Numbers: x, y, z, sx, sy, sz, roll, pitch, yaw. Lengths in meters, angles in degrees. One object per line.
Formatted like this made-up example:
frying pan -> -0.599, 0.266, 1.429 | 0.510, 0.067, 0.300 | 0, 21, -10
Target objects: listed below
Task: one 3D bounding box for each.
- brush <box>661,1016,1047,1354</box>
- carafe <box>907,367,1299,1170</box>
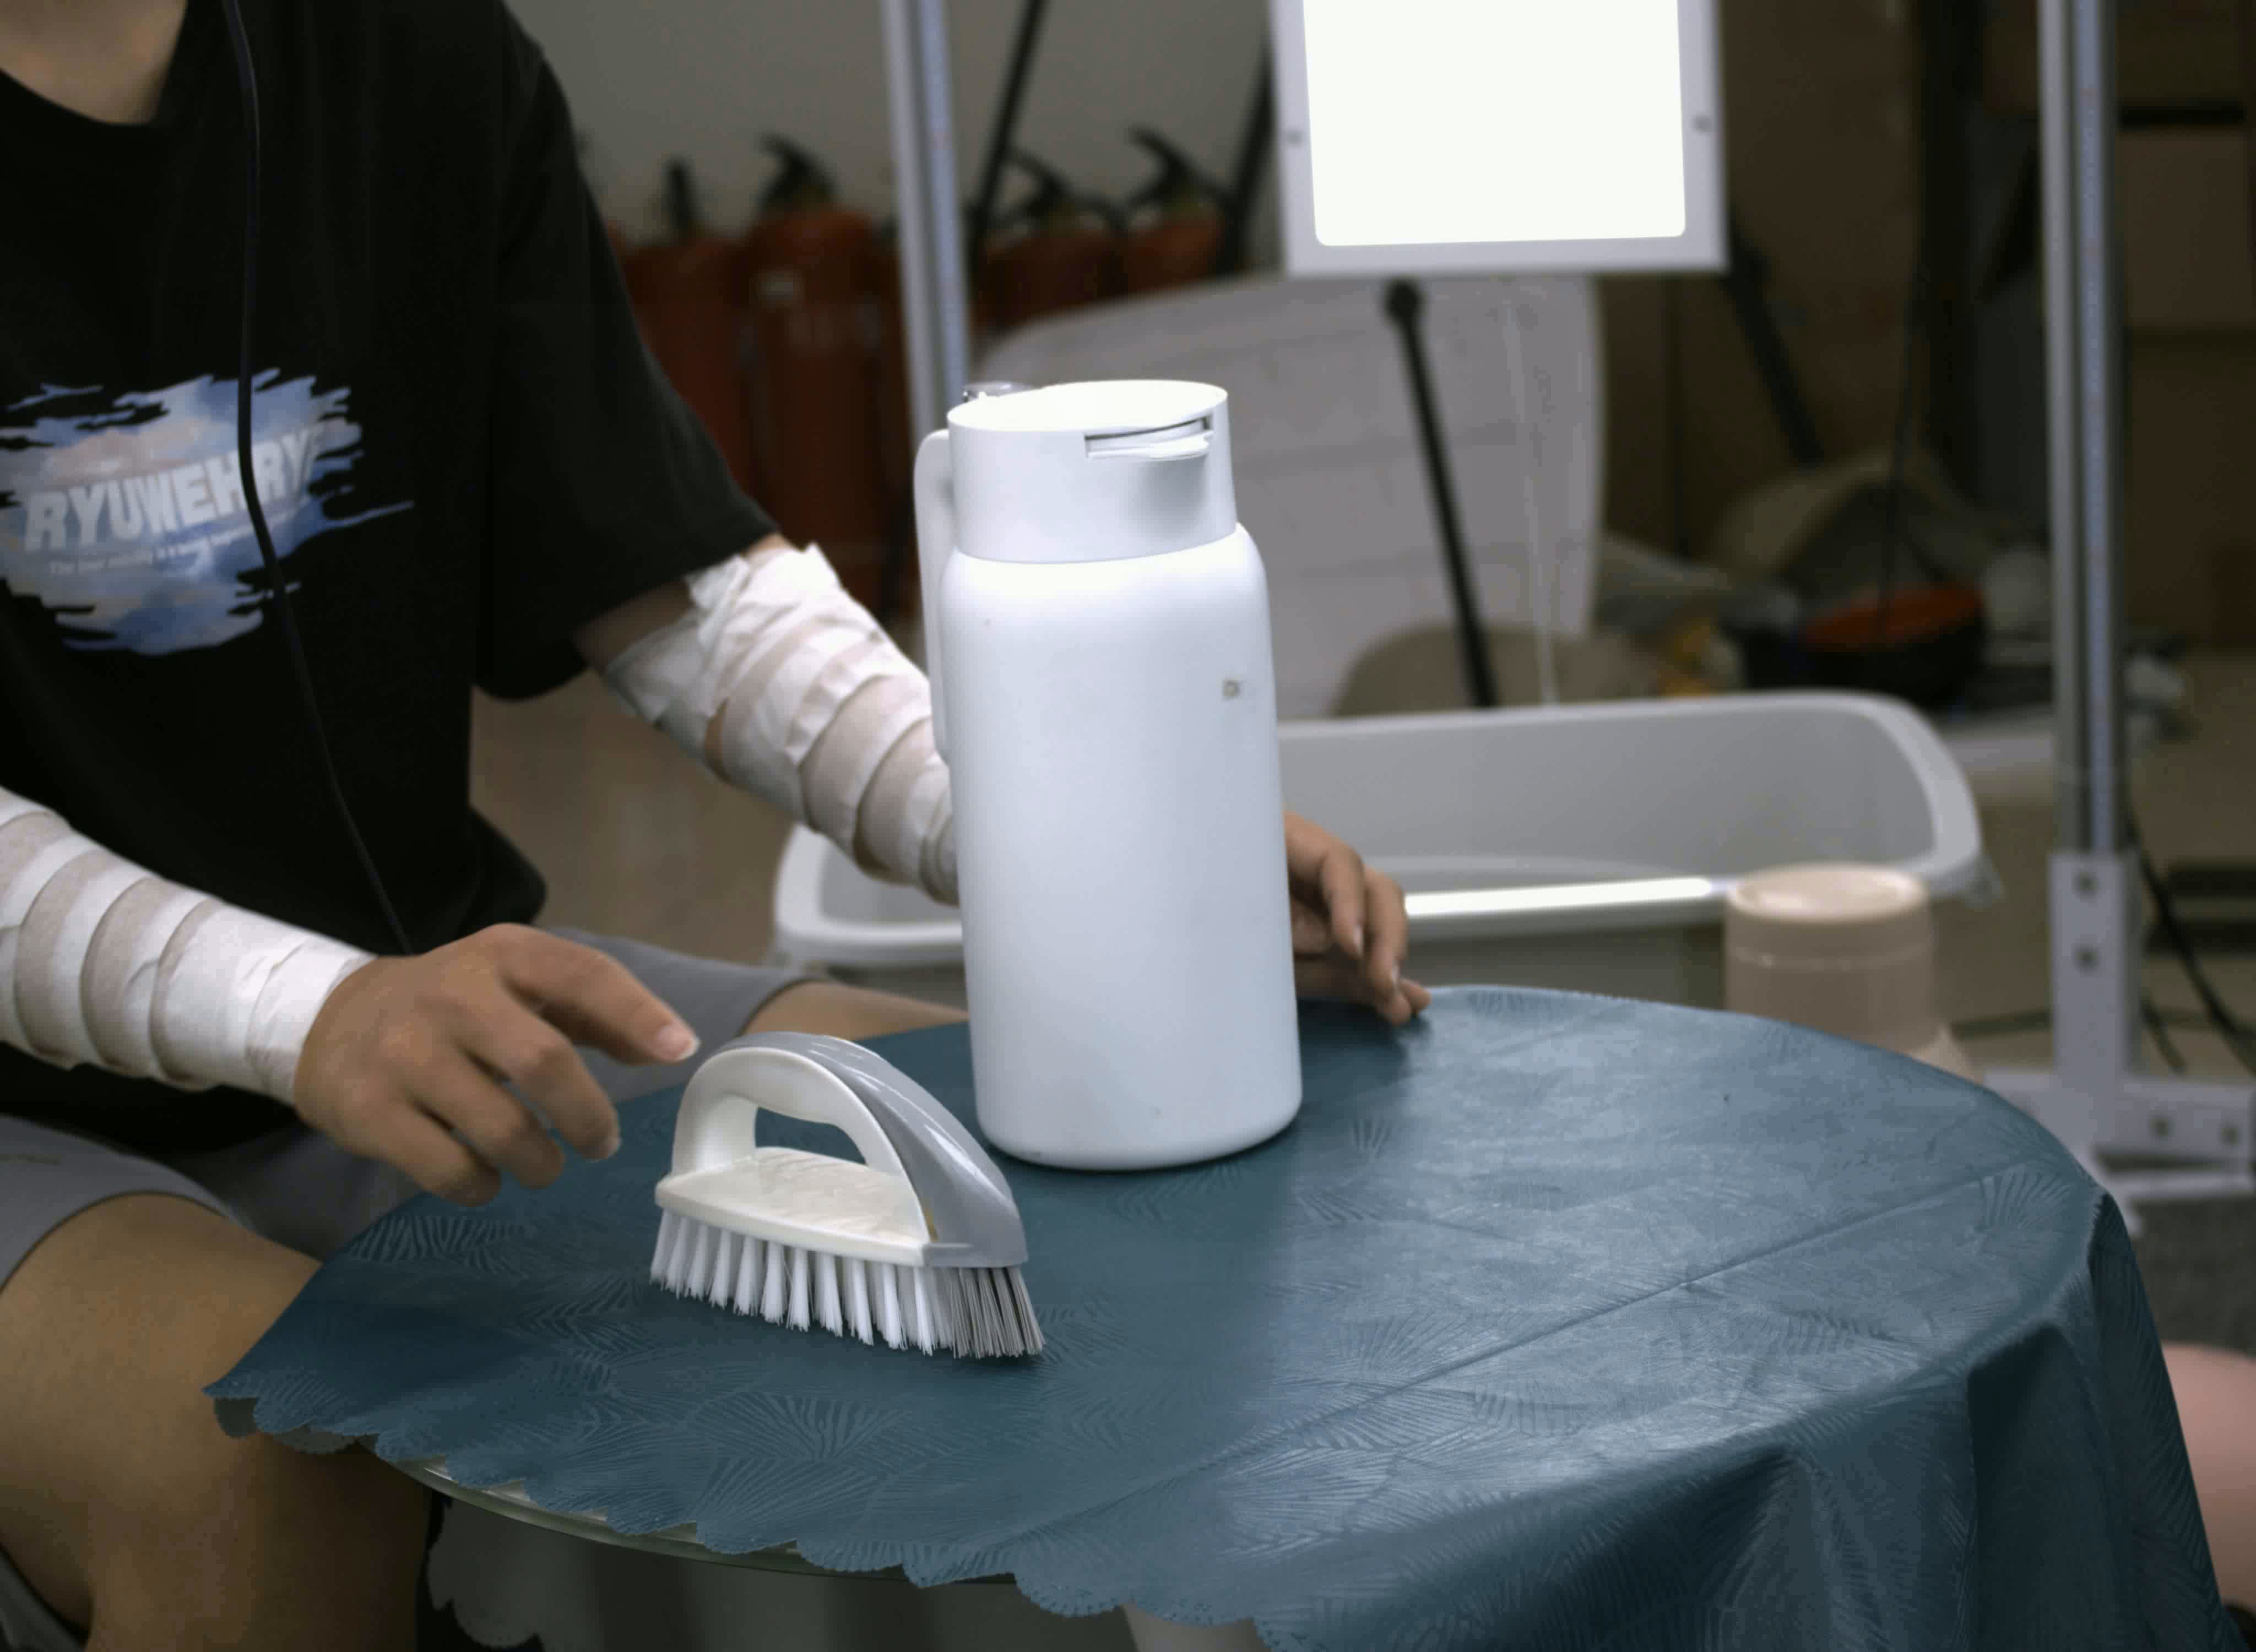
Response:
brush -> -0.087, 0.113, 1.790 | 0.060, 0.094, 0.179 | -18, 20, -36
carafe -> -0.016, -0.023, 1.951 | 0.121, 0.270, 0.176 | -15, 17, -30
